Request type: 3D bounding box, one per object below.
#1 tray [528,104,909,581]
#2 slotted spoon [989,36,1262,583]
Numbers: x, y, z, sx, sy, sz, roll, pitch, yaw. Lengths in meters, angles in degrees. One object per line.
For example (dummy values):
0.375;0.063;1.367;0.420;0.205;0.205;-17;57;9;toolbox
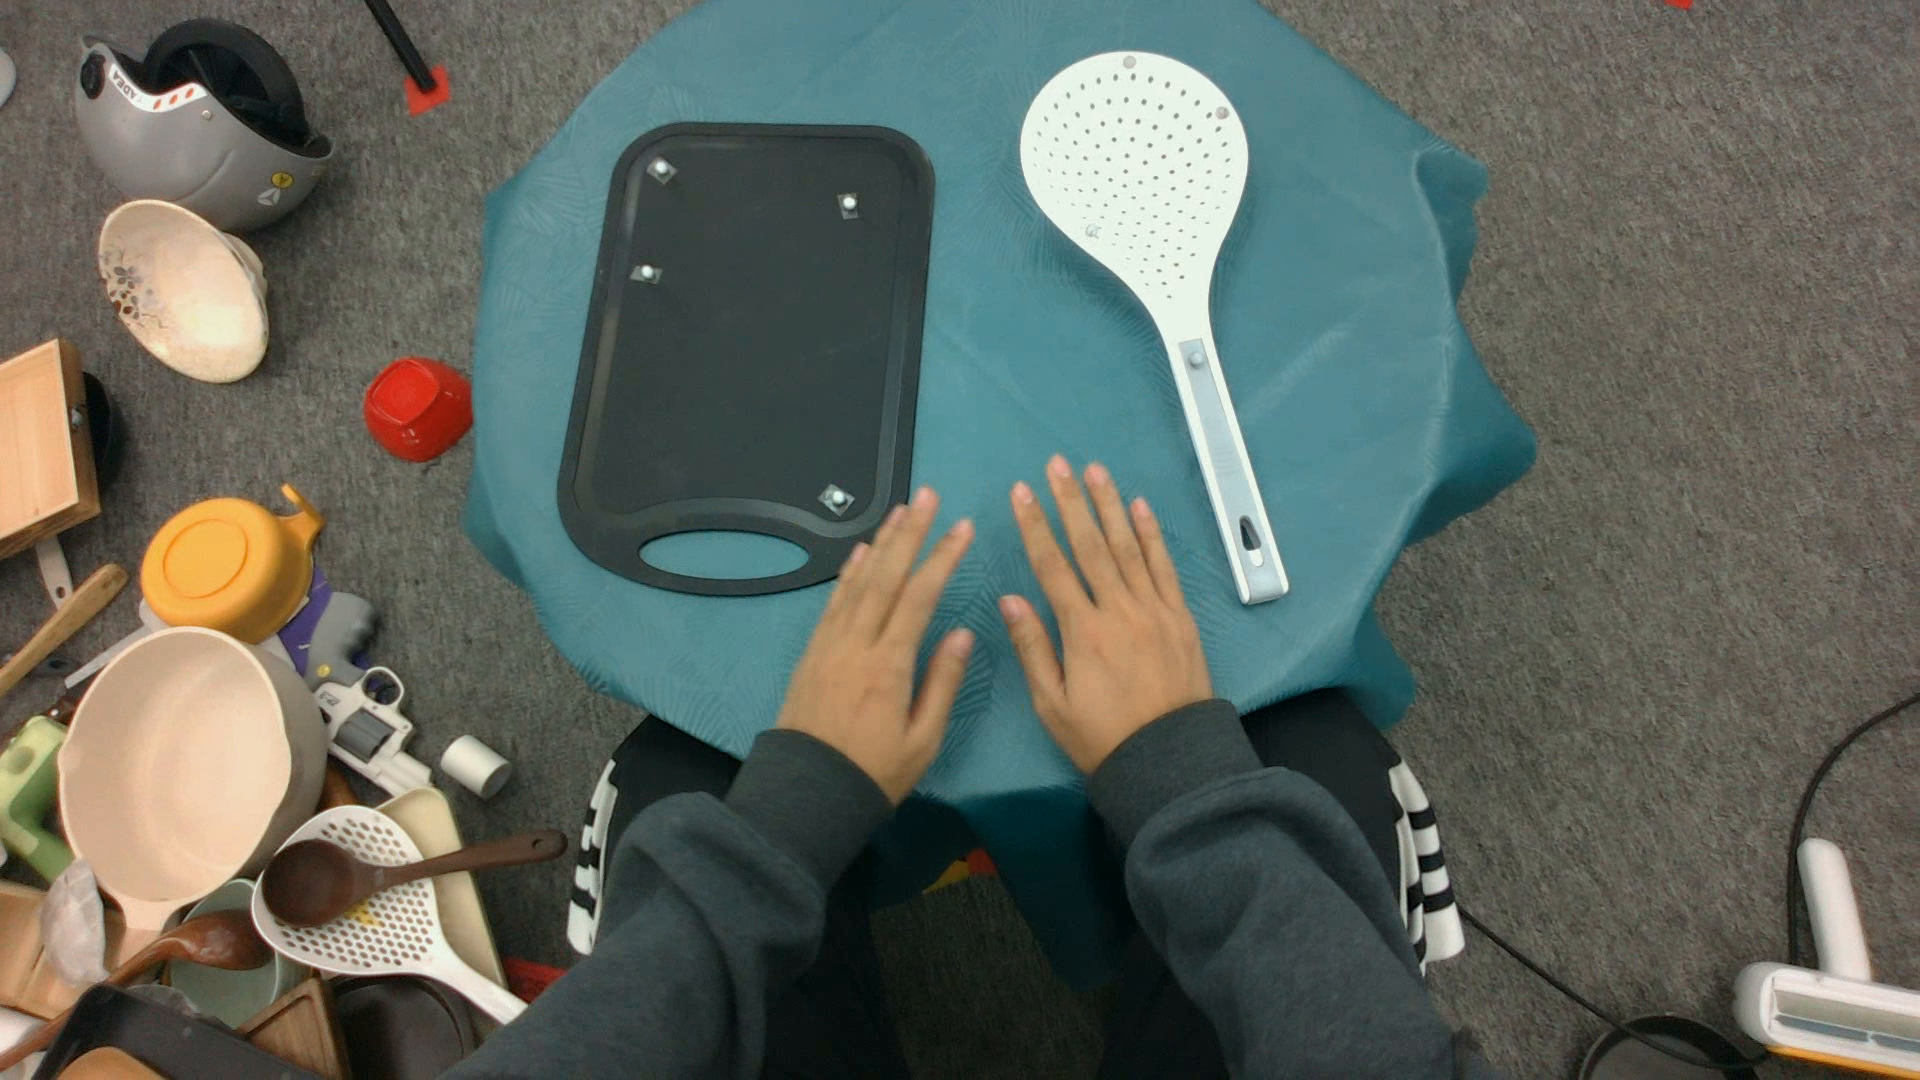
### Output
-0.143;-0.130;0.836;0.211;0.010;0.326;2;70;4;tray
0.113;-0.141;0.808;0.136;0.045;0.350;-15;70;-1;slotted spoon
